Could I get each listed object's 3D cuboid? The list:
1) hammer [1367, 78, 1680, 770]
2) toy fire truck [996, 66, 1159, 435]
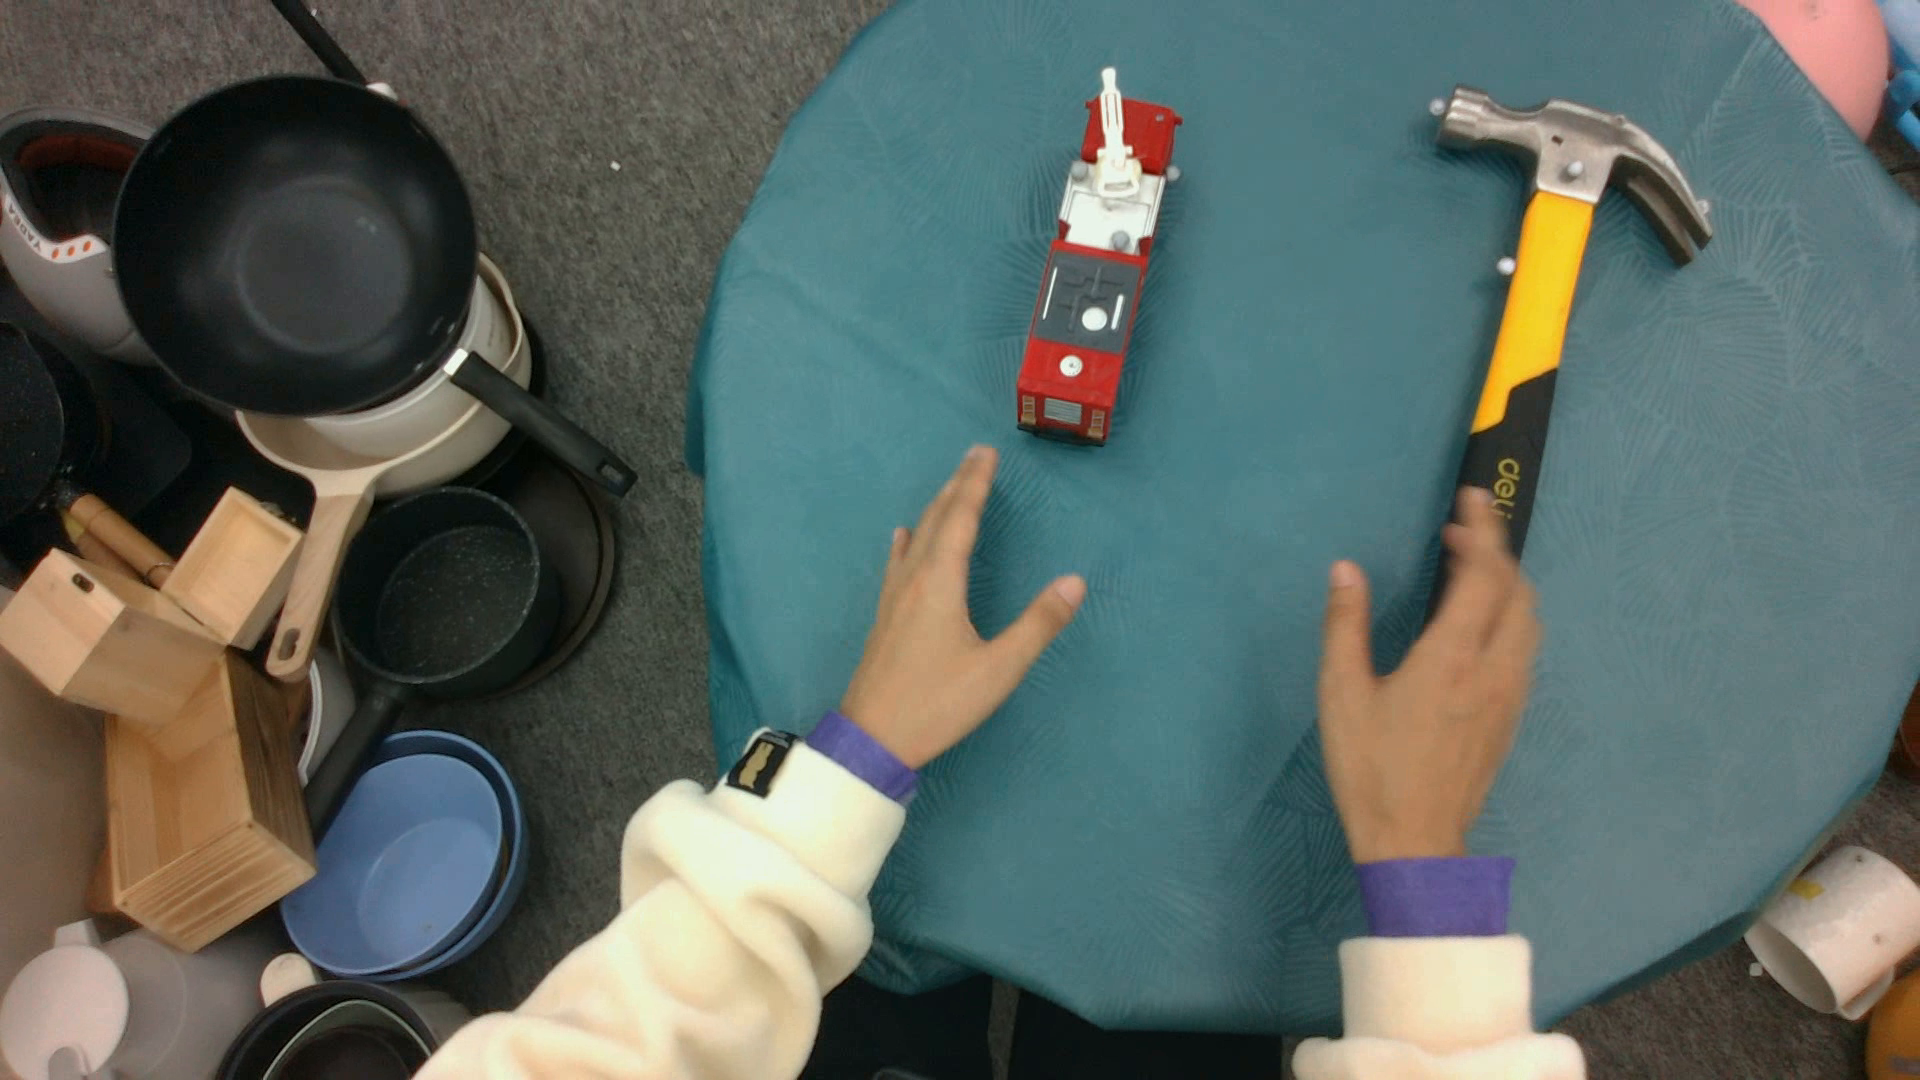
[{"bbox_3d":[0.245,-0.058,0.642,0.131,0.032,0.339,16,74,6],"label":"hammer"},{"bbox_3d":[0.056,-0.137,0.662,0.054,0.070,0.168,11,76,6],"label":"toy fire truck"}]
